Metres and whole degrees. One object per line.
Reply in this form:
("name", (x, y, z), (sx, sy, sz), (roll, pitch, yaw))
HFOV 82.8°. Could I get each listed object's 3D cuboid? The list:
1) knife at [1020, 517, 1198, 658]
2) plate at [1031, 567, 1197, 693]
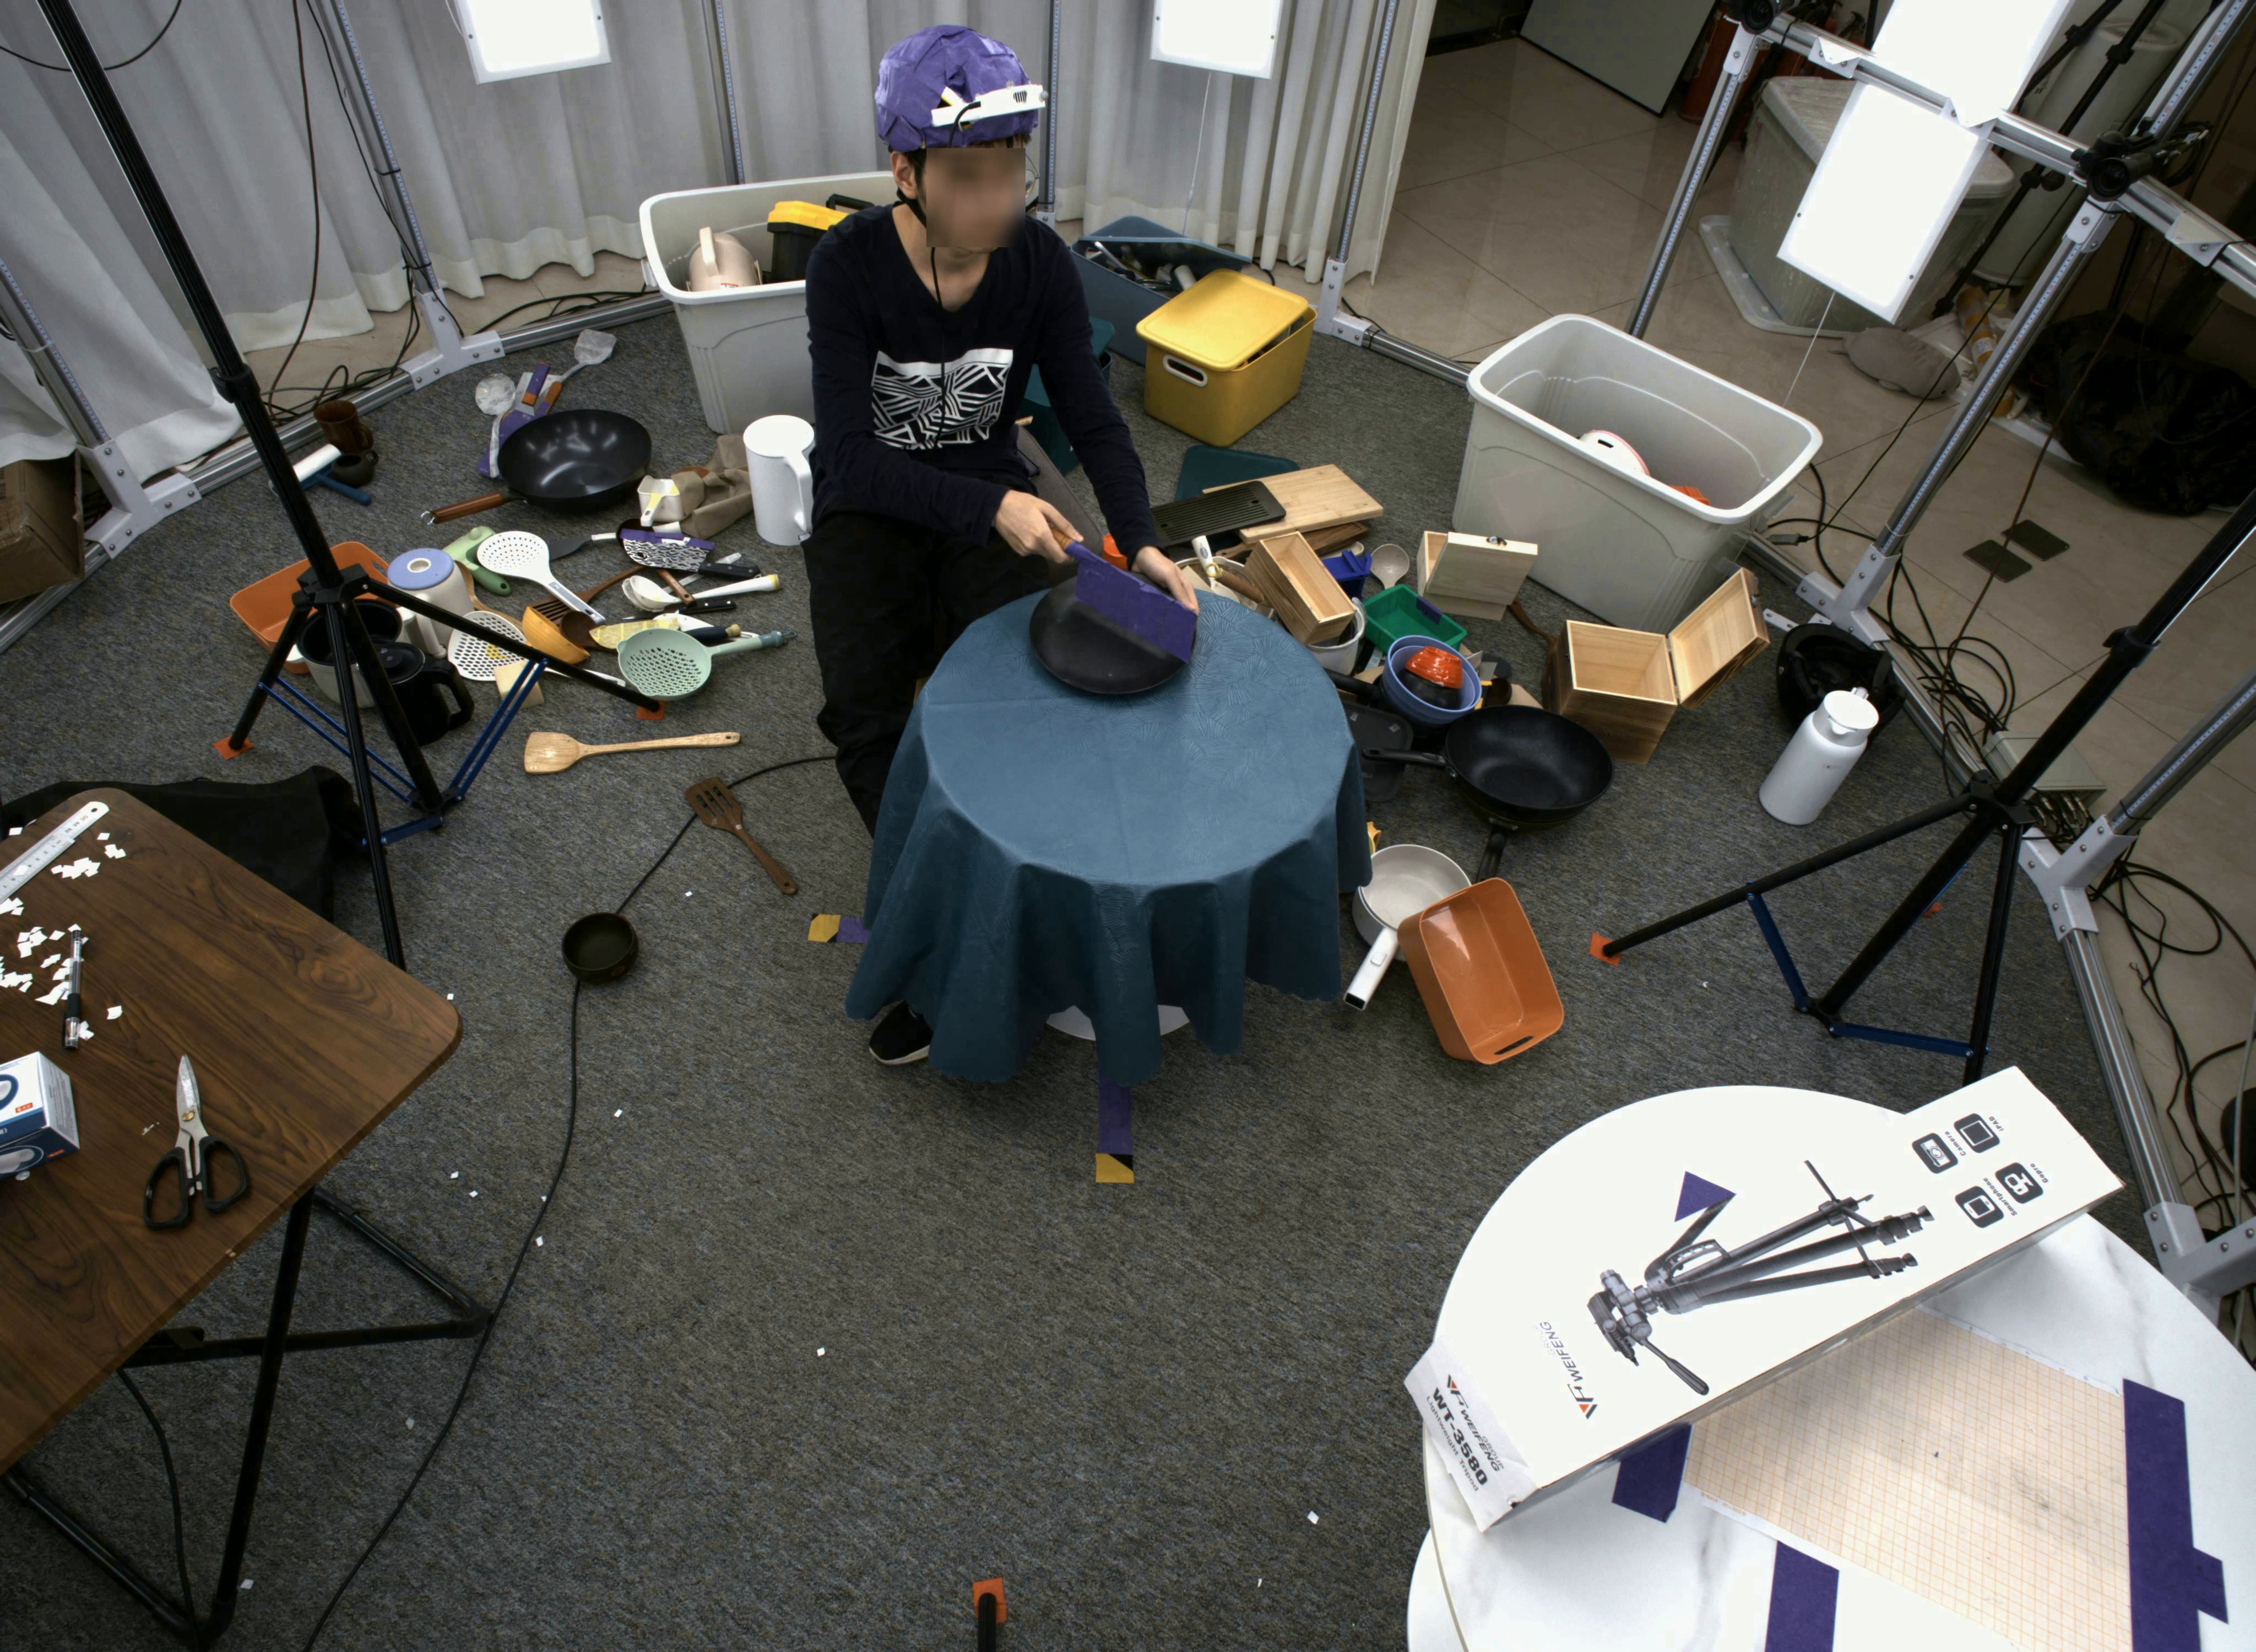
("knife", (-0.033, -0.341, 1.857), (0.319, 0.101, 0.032), (34, 48, 23))
("plate", (-0.020, -0.284, 1.884), (0.244, 0.023, 0.250), (0, 55, 0))
